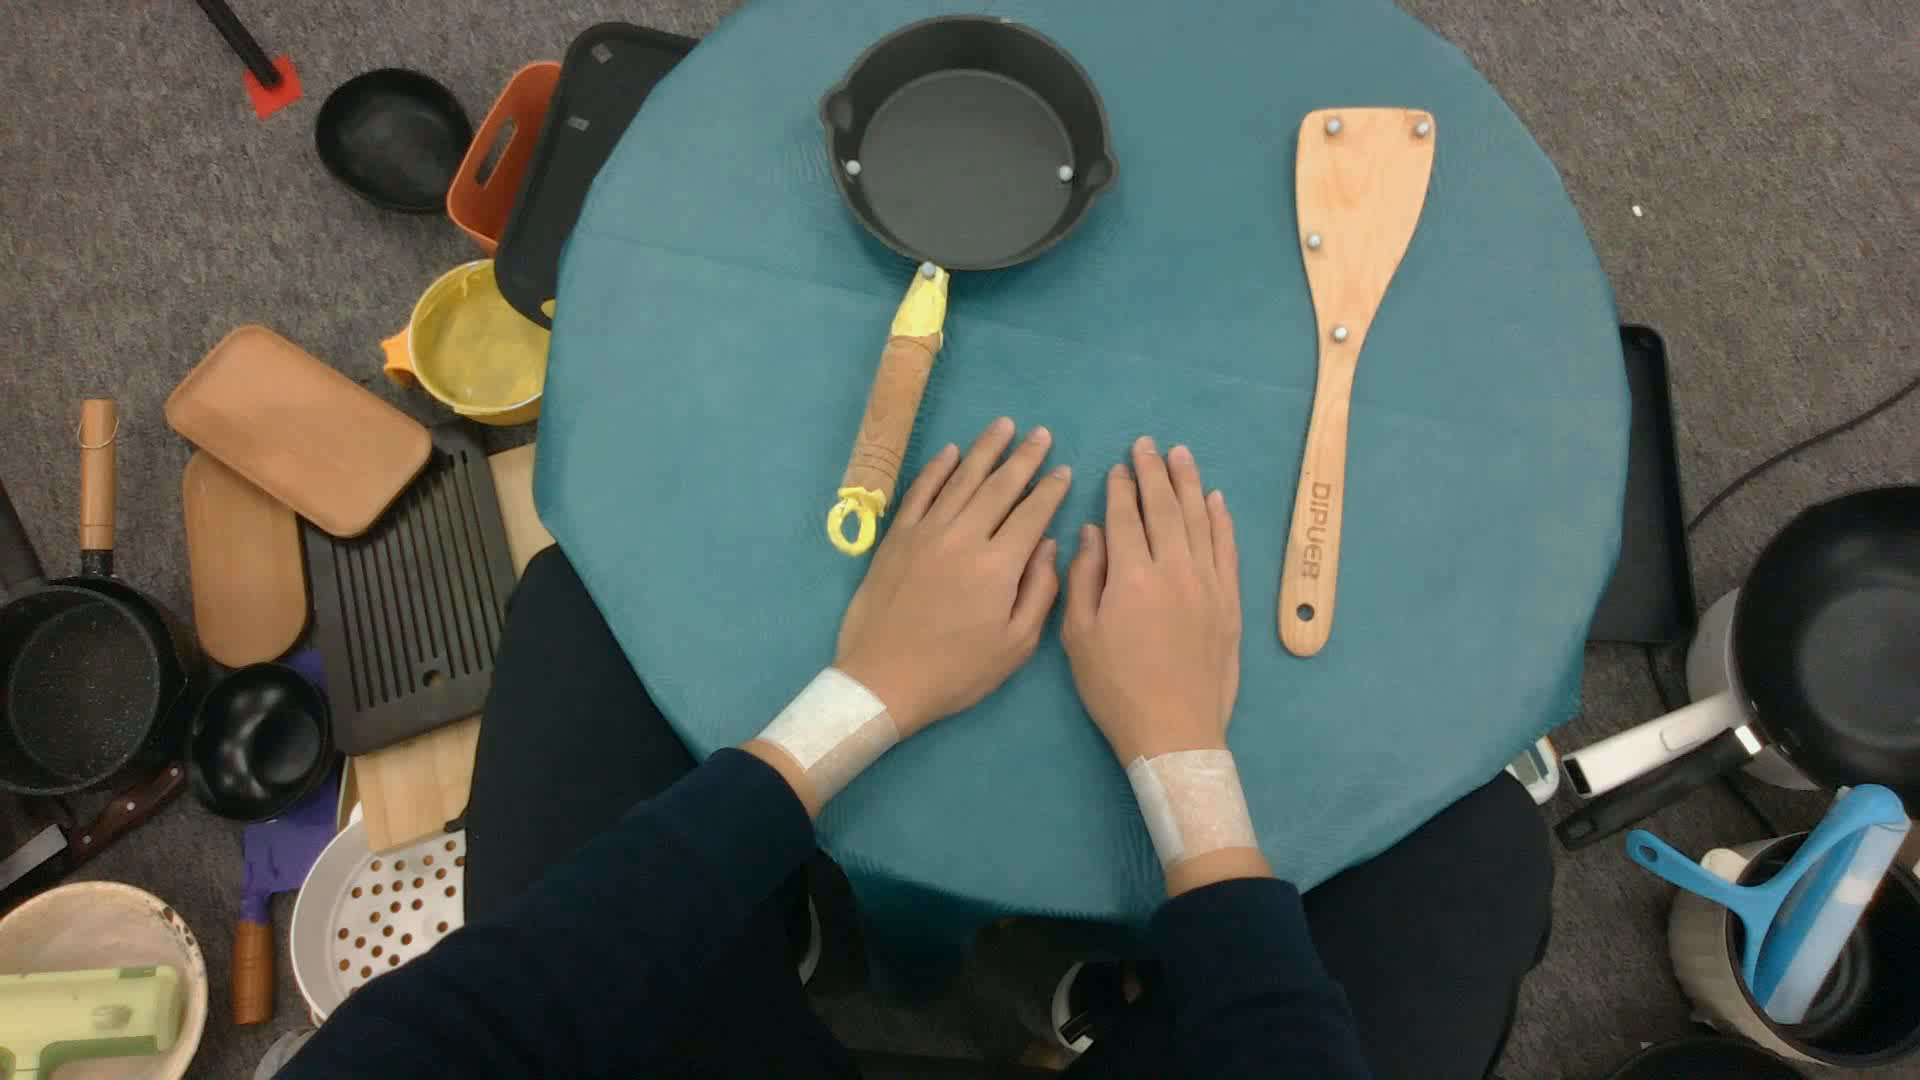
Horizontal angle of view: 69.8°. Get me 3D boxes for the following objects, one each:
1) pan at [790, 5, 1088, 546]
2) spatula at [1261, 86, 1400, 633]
[{"bbox_3d":[-0.033,-0.147,0.744,0.169,0.049,0.325,15,73,1],"label":"pan"},{"bbox_3d":[0.194,-0.109,0.762,0.080,0.016,0.328,9,74,0],"label":"spatula"}]
